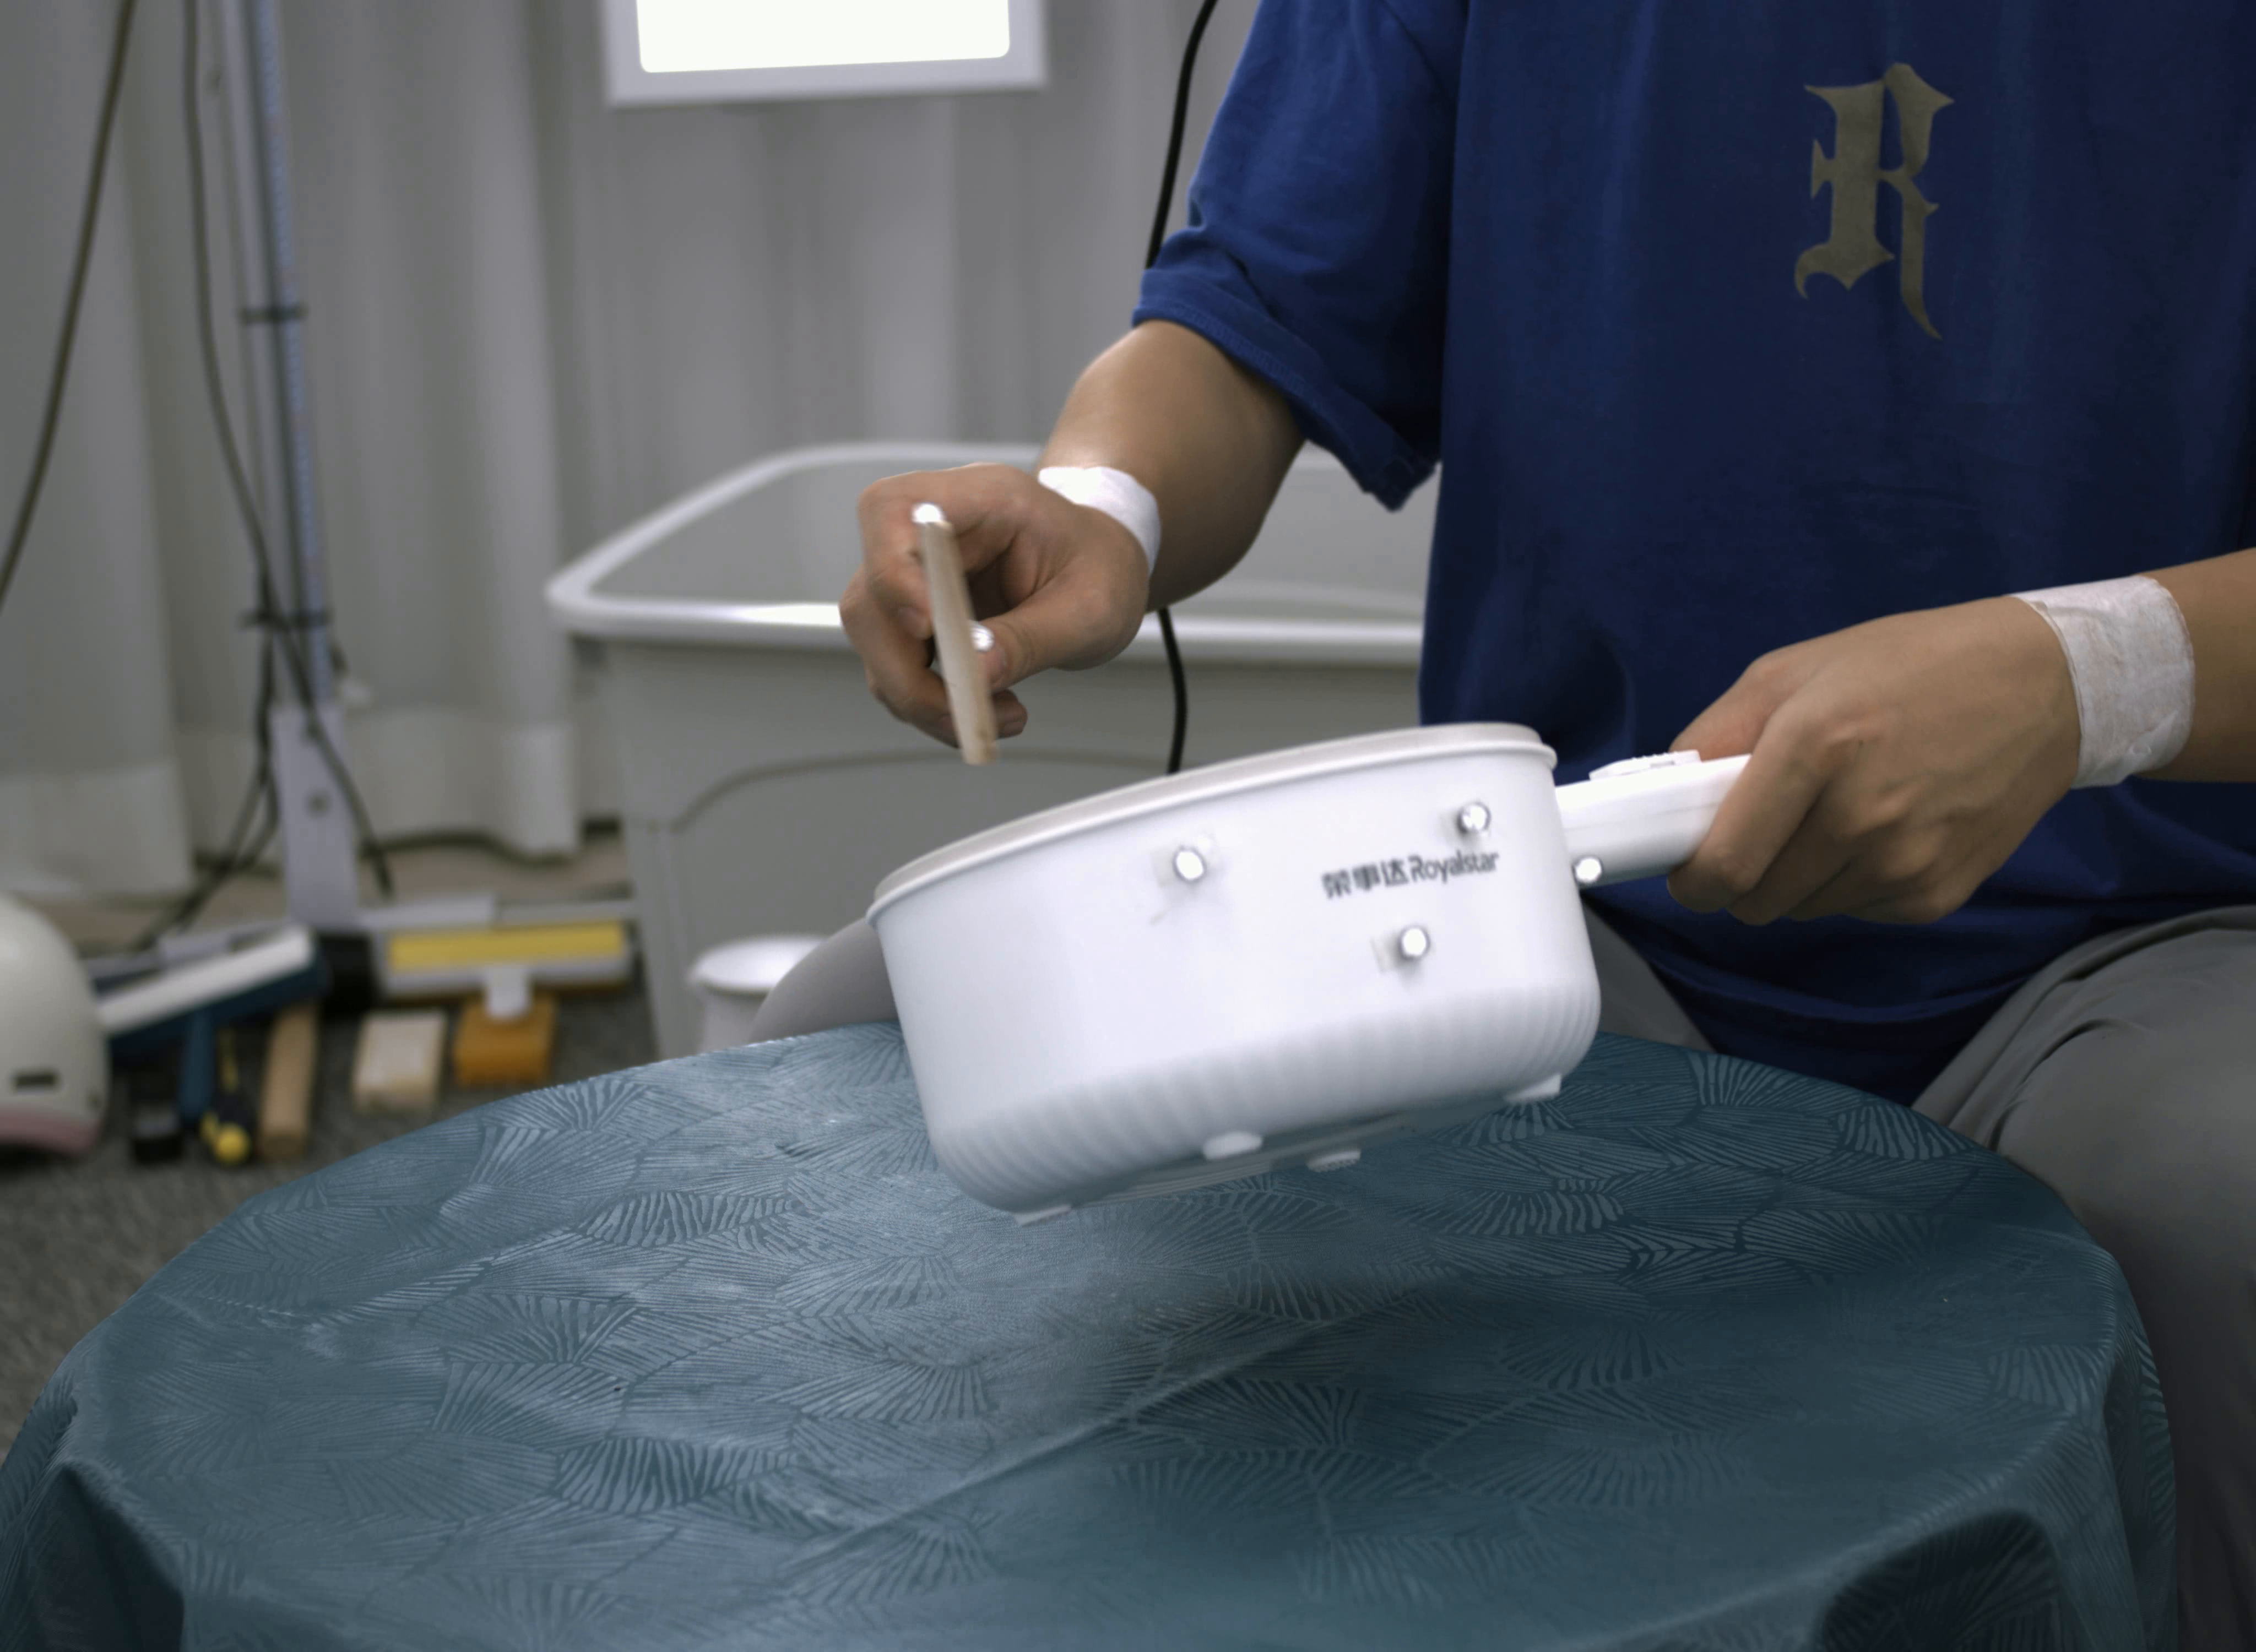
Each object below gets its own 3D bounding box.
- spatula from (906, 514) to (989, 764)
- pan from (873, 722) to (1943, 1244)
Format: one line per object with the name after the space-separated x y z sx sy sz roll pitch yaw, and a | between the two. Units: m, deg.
-0.054 -0.053 1.667 0.010 0.072 0.293 -15 0 -1 | spatula
0.099 0.039 1.583 0.353 0.103 0.200 -8 -12 -34 | pan
